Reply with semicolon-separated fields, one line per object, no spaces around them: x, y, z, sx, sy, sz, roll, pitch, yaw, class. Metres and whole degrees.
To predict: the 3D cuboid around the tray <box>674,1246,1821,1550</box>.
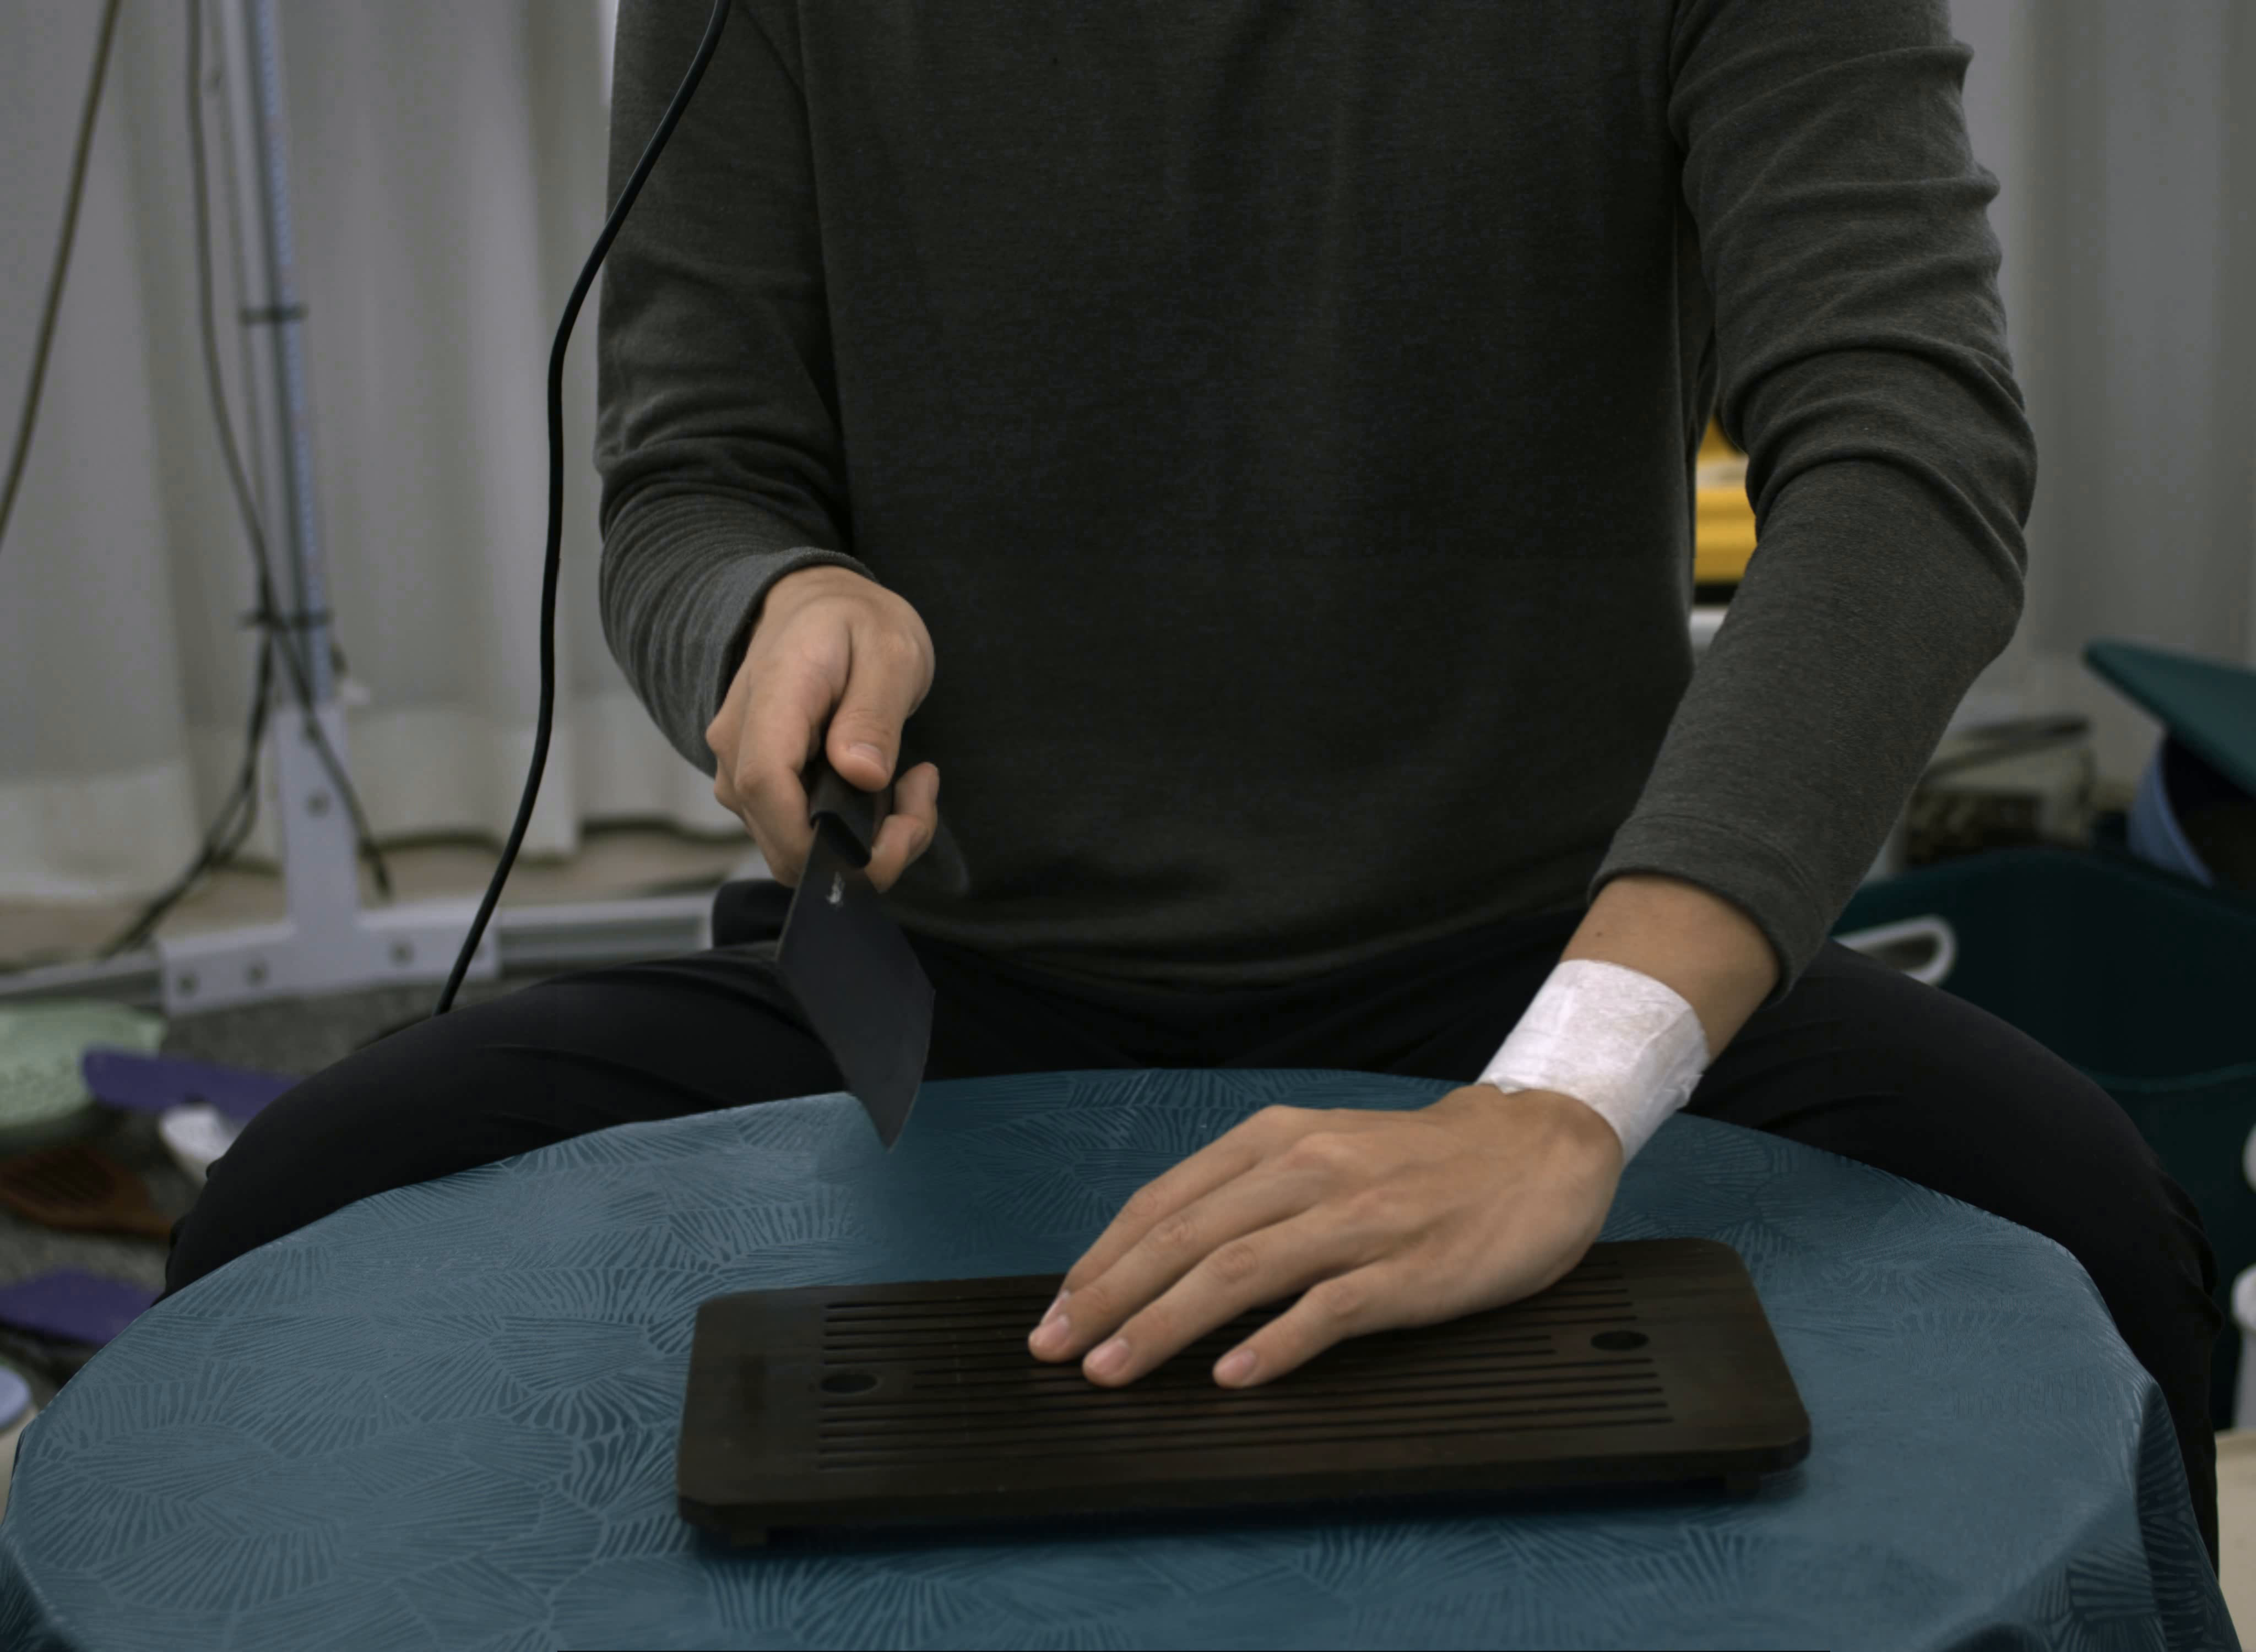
0.030;0.158;1.514;0.305;0.018;0.171;-3;14;-1;tray

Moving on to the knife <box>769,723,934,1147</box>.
-0.076;0.025;1.585;0.021;0.080;0.304;-29;15;8;knife
